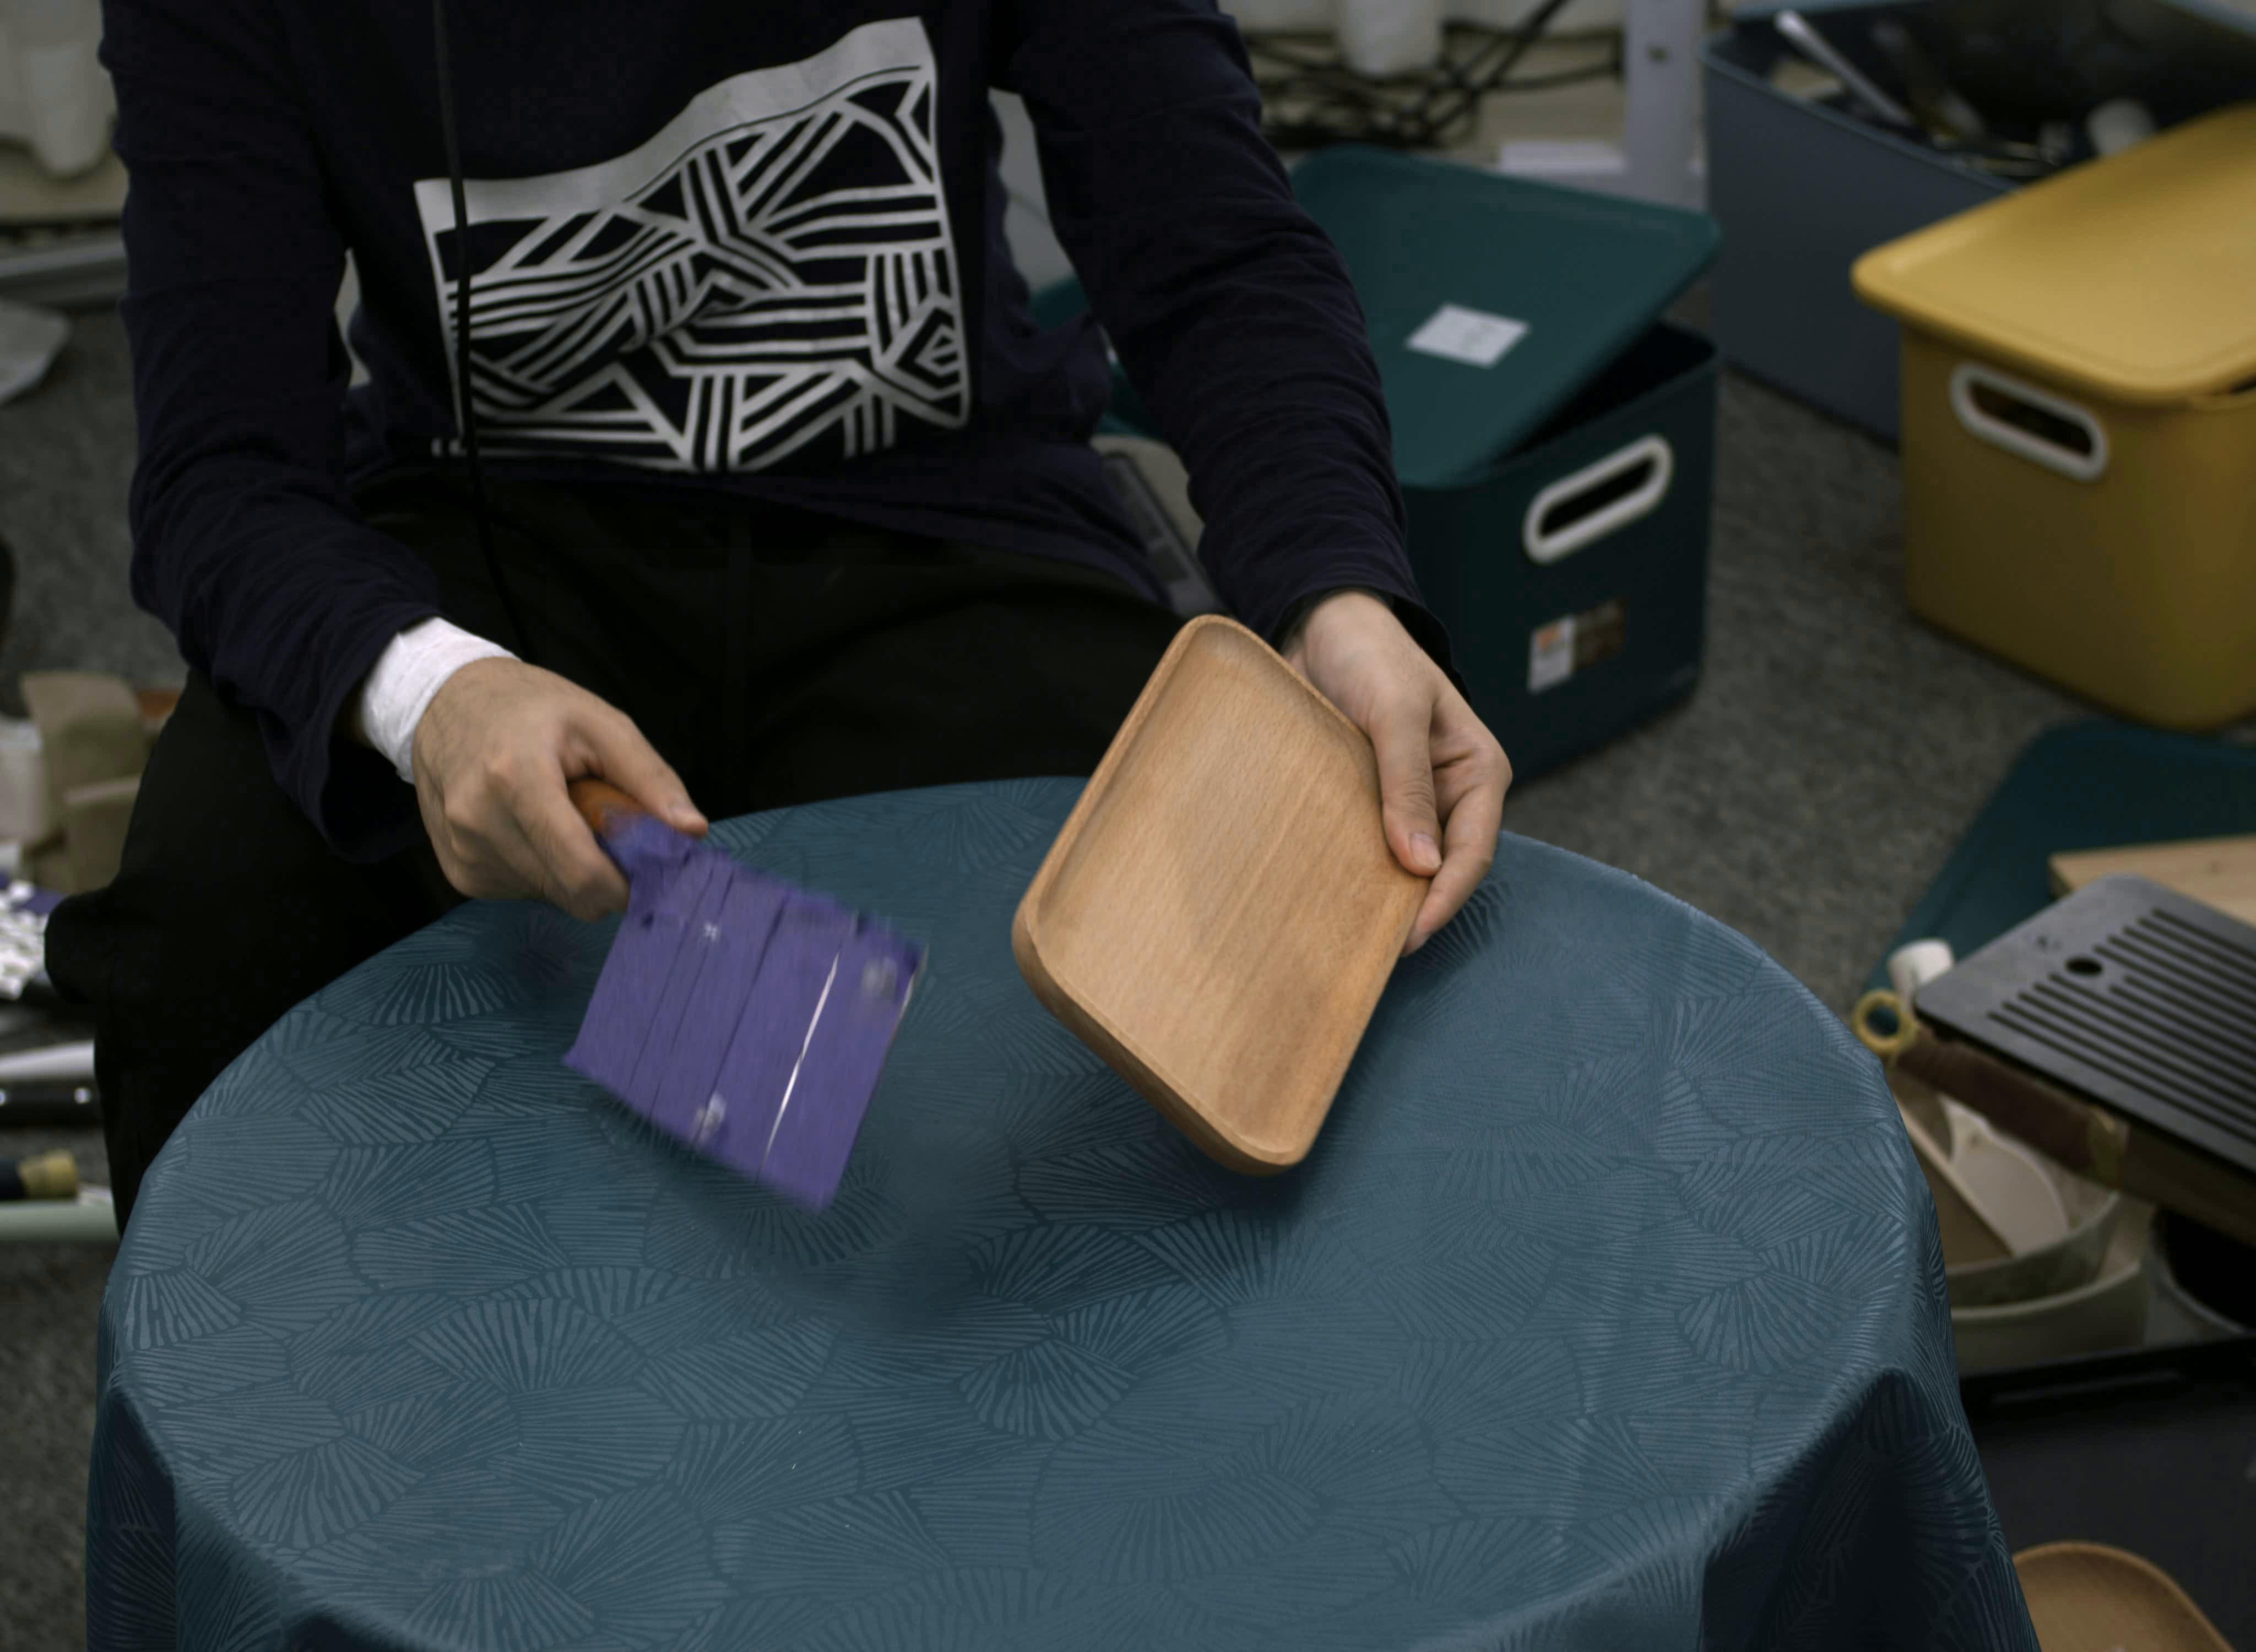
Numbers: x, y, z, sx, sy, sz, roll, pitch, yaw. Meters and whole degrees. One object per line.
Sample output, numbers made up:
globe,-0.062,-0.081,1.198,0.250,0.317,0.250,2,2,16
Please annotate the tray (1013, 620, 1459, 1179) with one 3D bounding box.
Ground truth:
tray,0.039,0.022,1.920,0.022,0.130,0.255,-40,9,31

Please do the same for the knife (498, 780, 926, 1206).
knife,-0.155,0.054,1.883,0.032,0.104,0.315,25,-1,-29
